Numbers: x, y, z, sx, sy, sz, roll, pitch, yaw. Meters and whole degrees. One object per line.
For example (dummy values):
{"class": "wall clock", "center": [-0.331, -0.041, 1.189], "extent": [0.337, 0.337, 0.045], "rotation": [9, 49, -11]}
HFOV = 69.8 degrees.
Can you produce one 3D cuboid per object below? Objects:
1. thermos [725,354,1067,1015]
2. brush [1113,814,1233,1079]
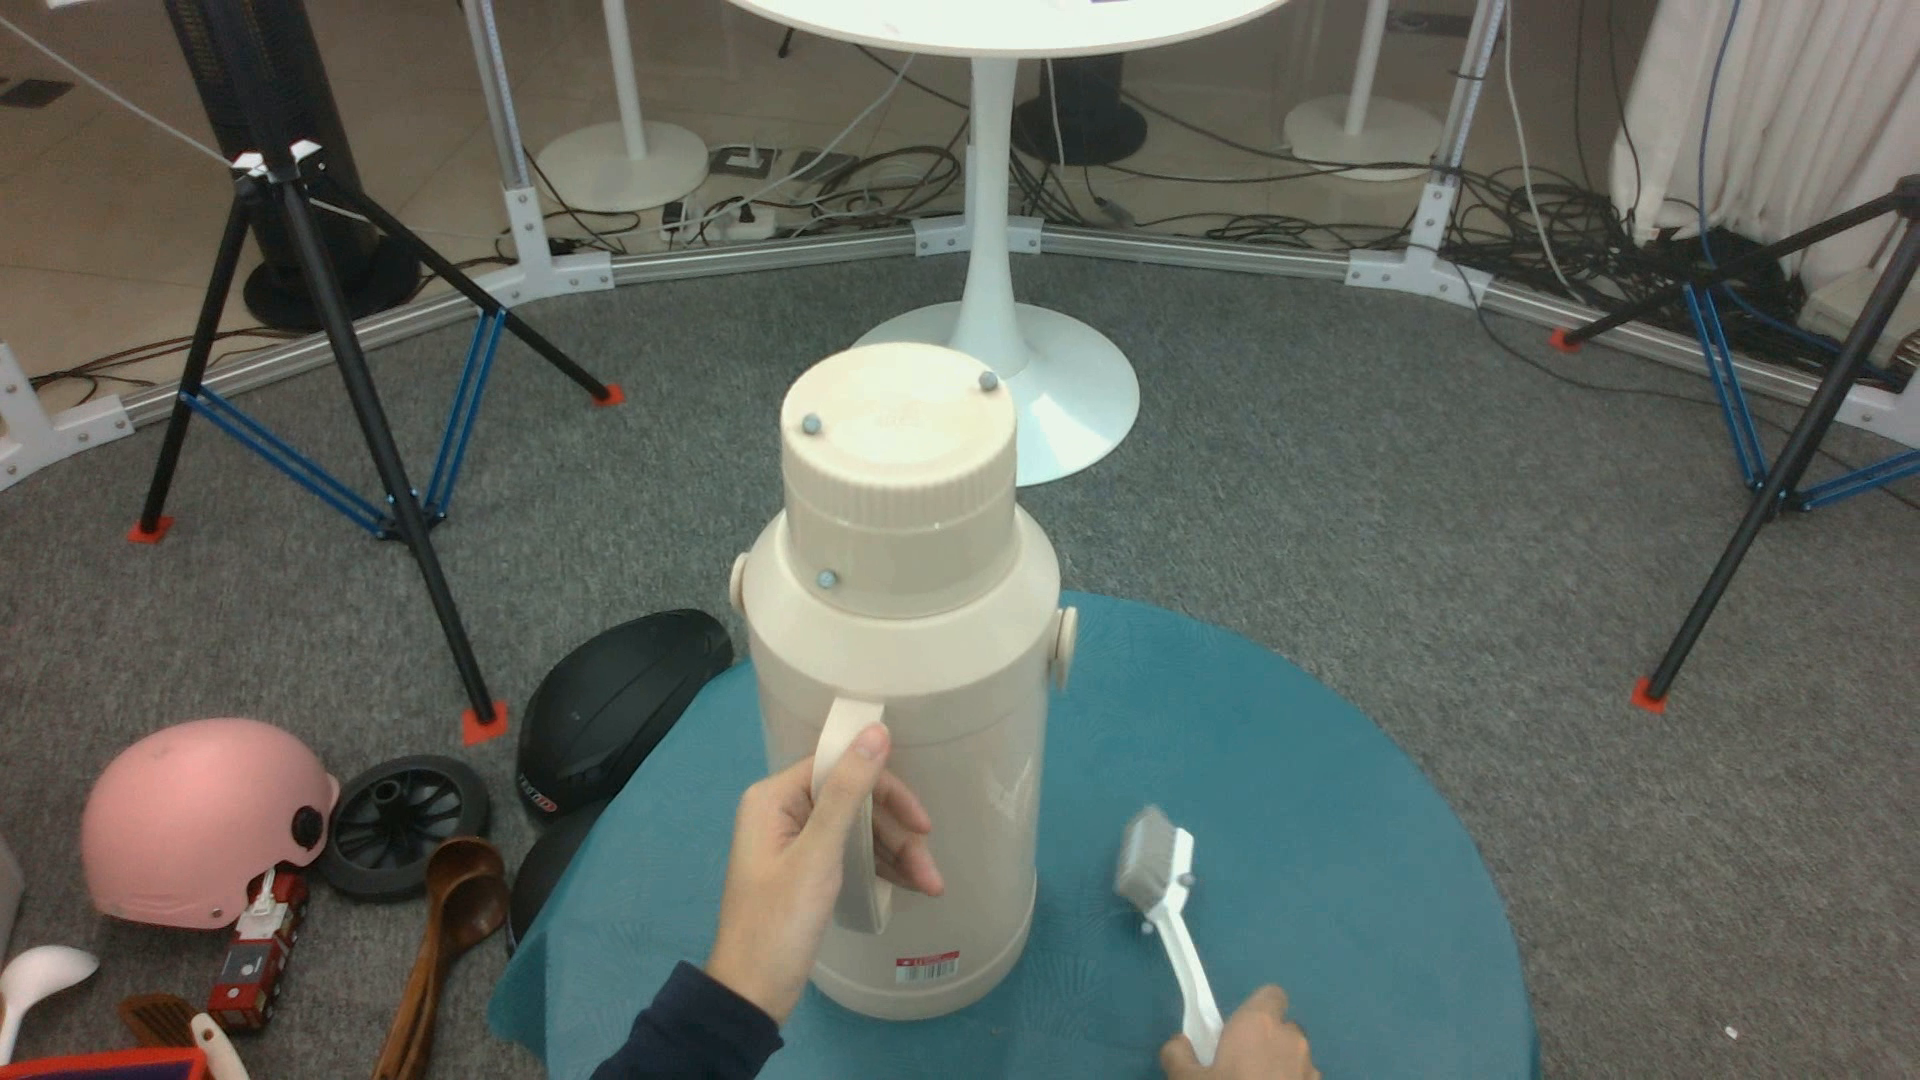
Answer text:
{"class": "thermos", "center": [-0.039, 0.101, 0.745], "extent": [0.175, 0.404, 0.208], "rotation": [9, 44, 6]}
{"class": "brush", "center": [0.126, 0.270, 0.812], "extent": [0.050, 0.034, 0.245], "rotation": [19, 39, -21]}
